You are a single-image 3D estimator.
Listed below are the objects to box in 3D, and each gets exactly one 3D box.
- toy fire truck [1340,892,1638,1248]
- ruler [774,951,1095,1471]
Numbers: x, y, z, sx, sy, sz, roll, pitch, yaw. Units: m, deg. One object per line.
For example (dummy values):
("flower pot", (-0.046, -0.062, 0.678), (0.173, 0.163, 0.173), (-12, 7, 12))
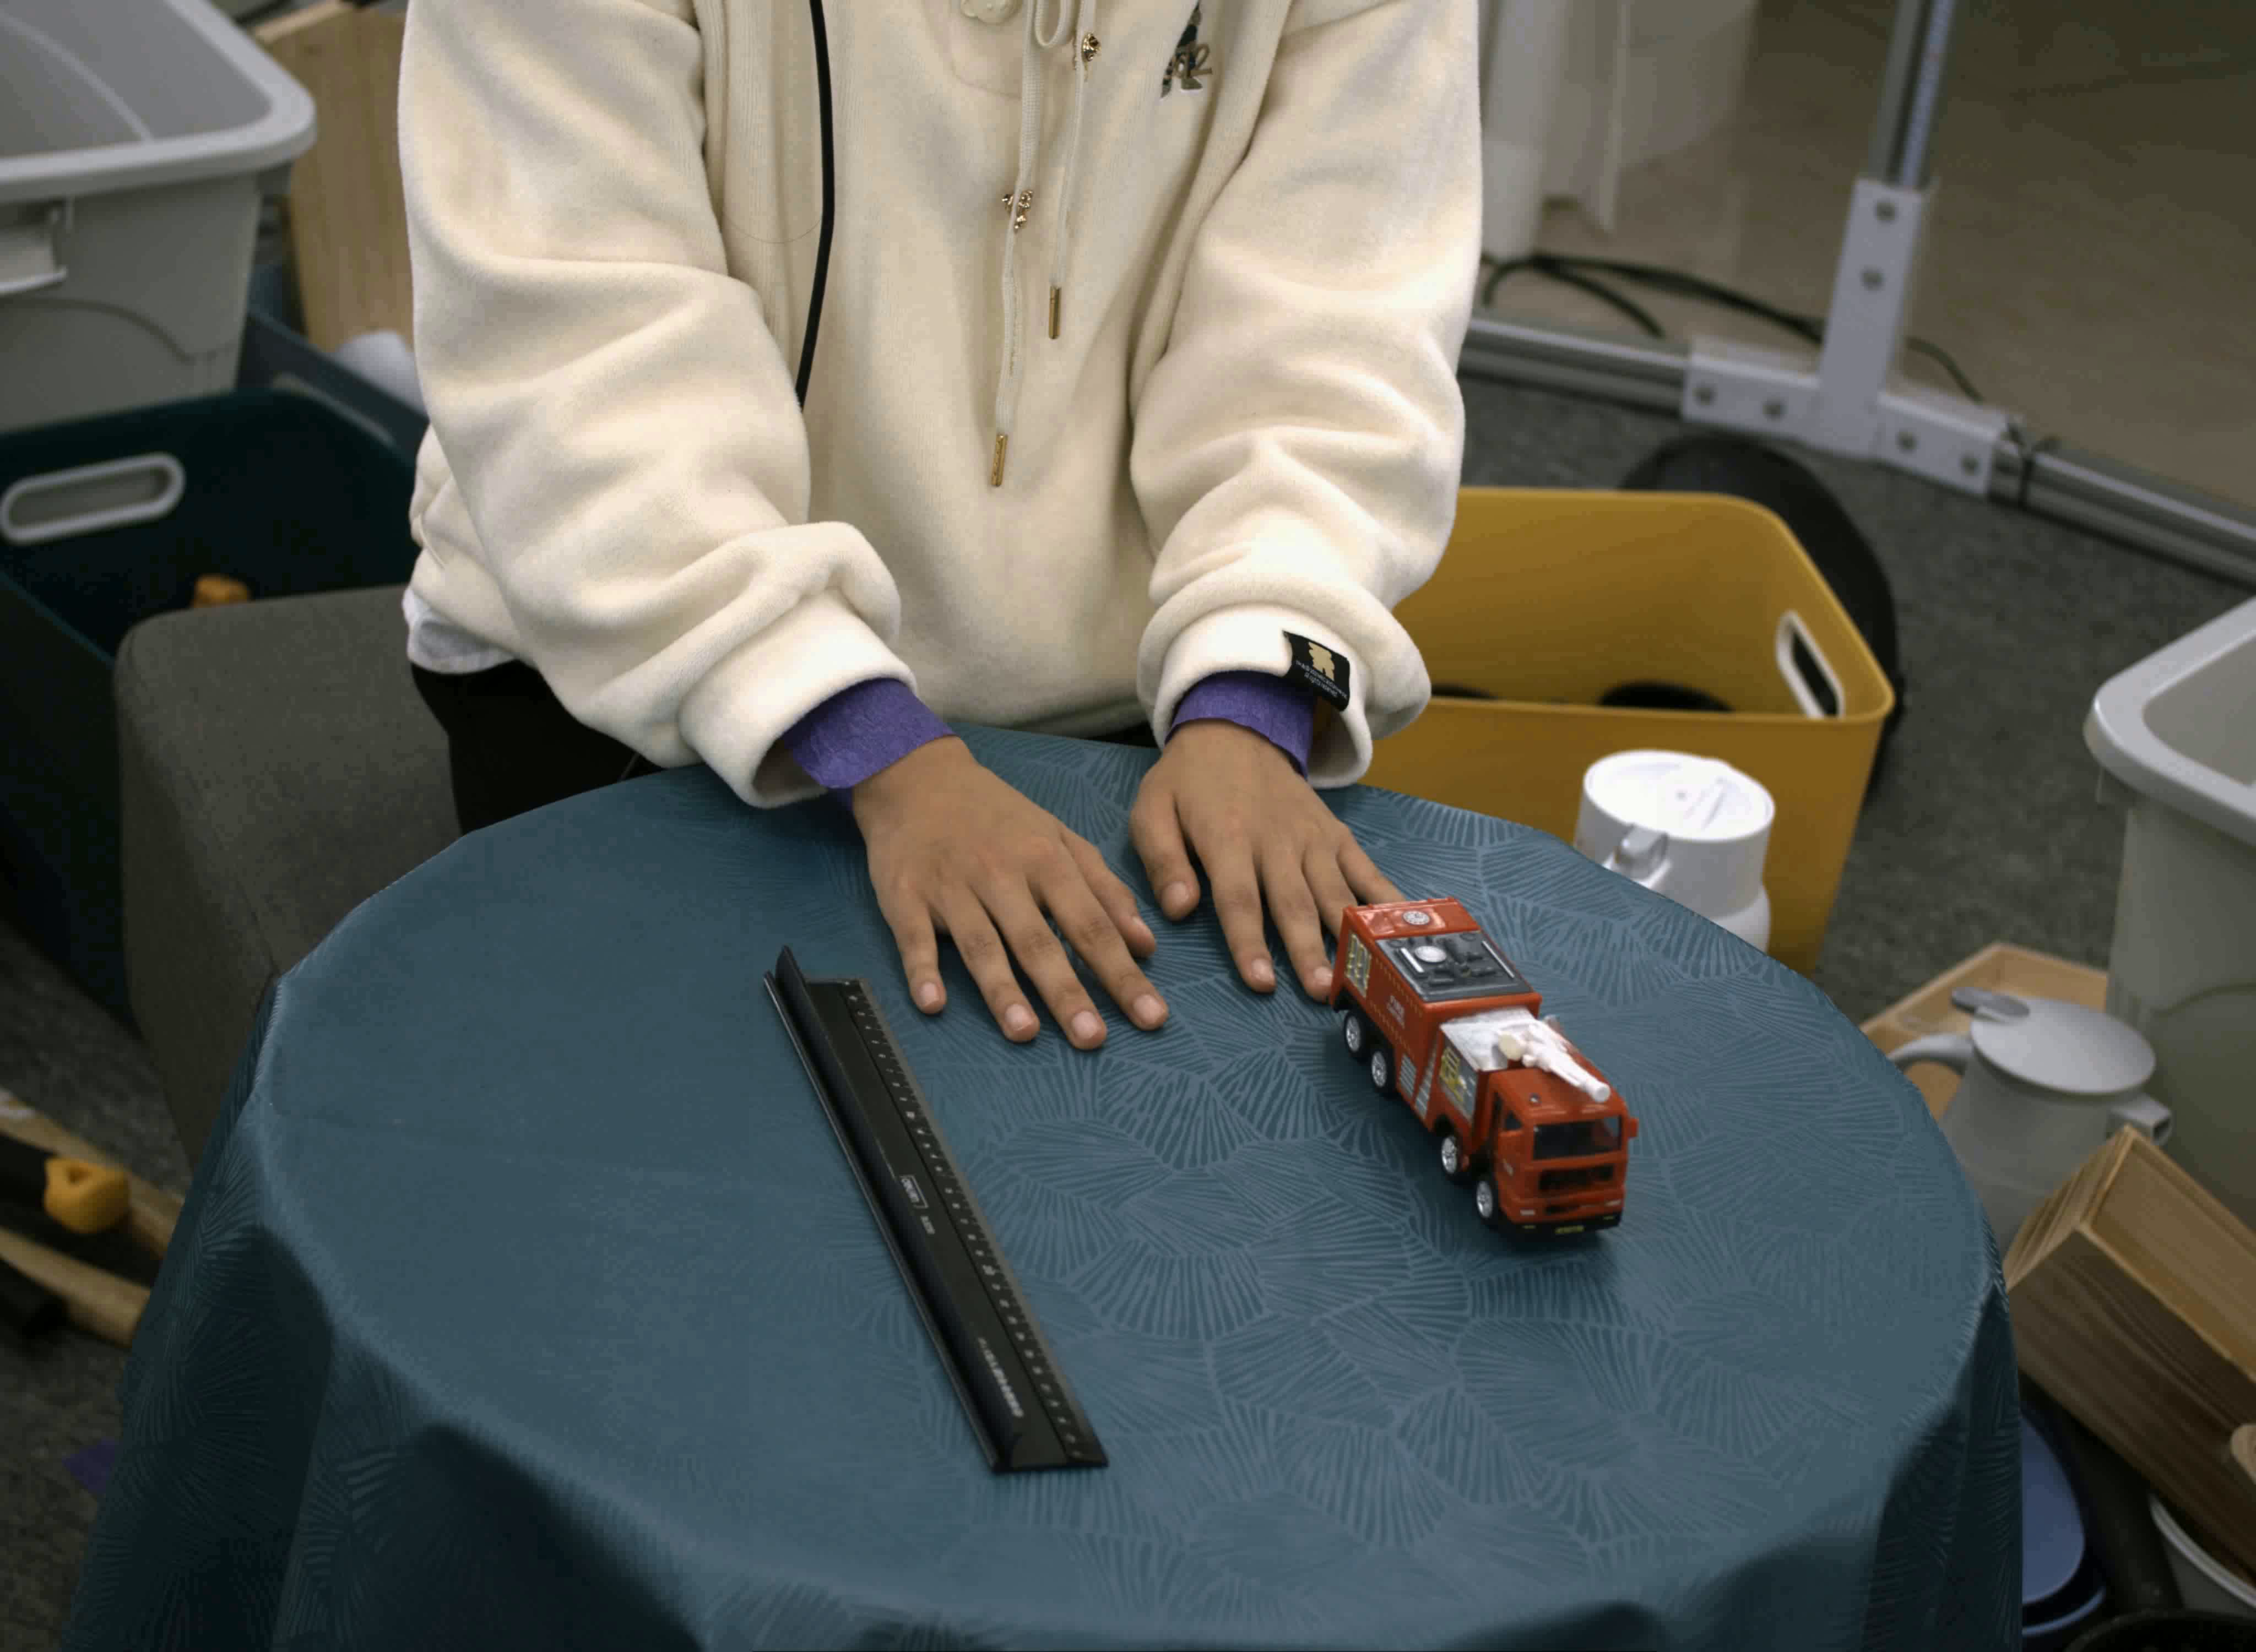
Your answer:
("toy fire truck", (0.124, 0.083, 1.846), (0.053, 0.070, 0.169), (-6, 28, -20))
("ruler", (-0.067, 0.121, 1.773), (0.039, 0.017, 0.315), (2, 27, -18))
